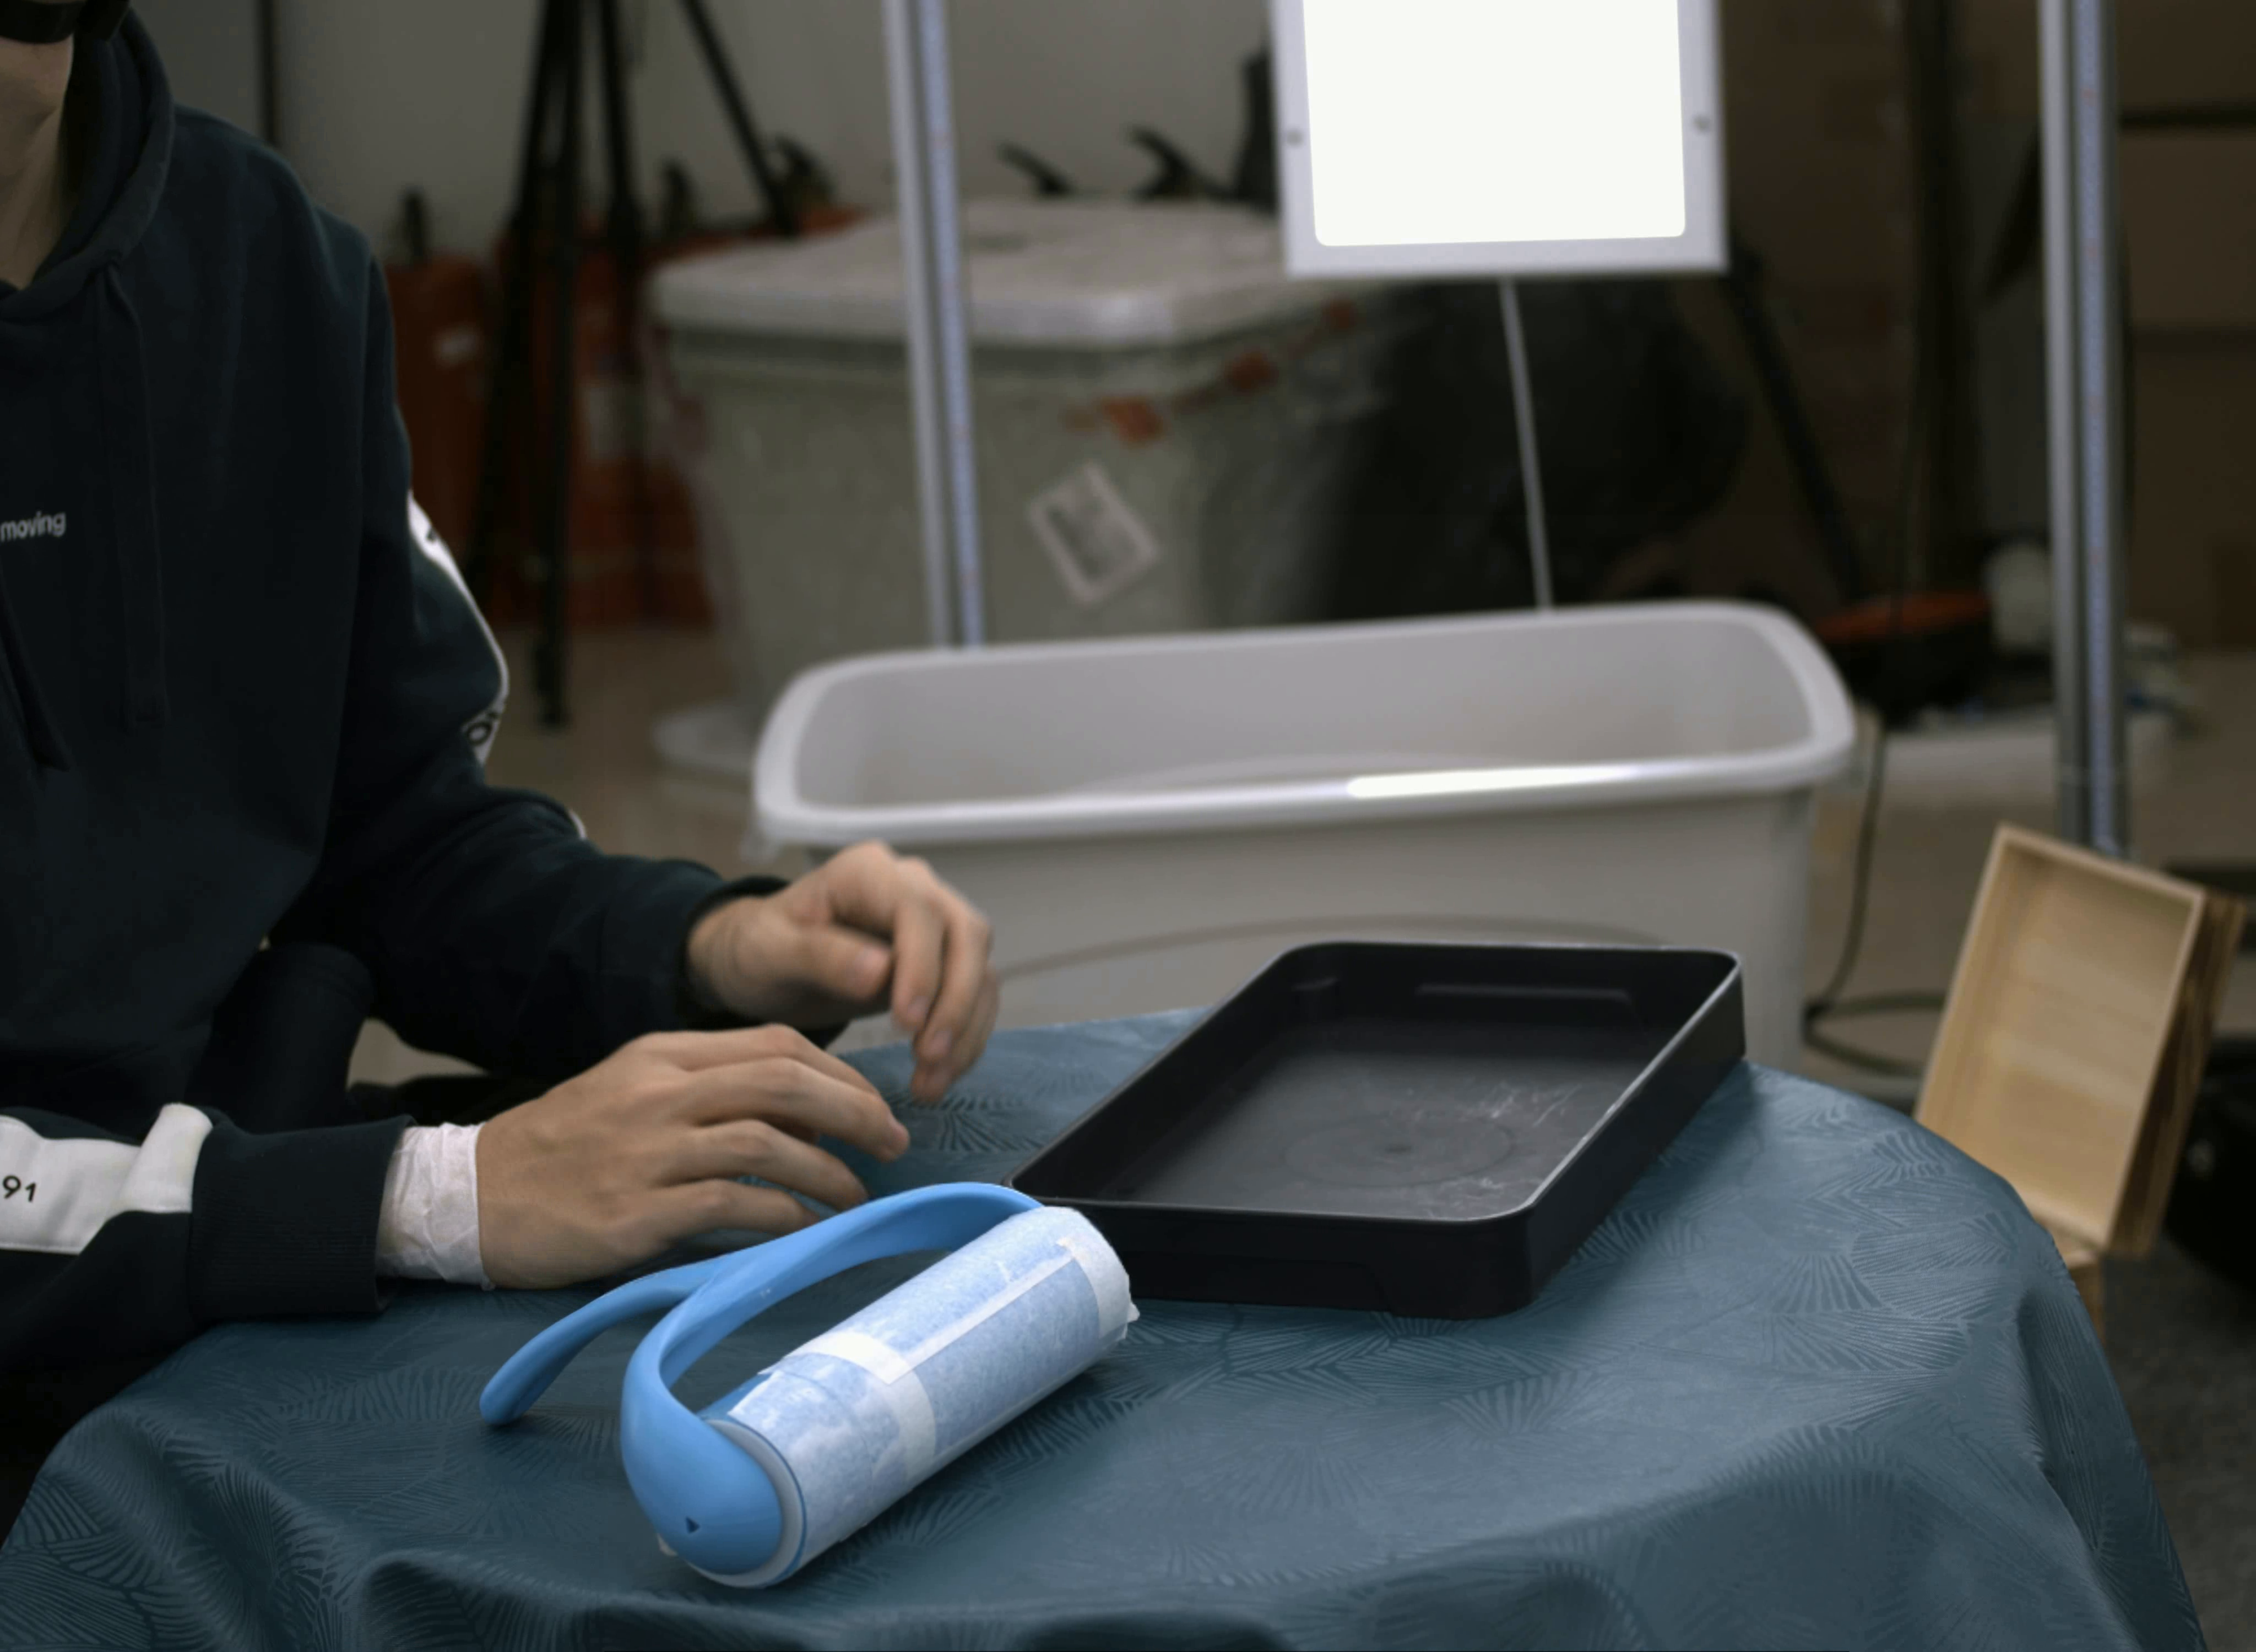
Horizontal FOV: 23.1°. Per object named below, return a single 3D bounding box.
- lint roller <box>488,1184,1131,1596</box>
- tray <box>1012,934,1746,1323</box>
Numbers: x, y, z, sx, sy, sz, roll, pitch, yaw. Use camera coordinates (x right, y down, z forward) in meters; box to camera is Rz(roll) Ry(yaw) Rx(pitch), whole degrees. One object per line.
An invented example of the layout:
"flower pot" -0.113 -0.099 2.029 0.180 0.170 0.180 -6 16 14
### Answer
"lint roller" -0.120 0.164 1.668 0.183 0.068 0.224 4 18 27
"tray" 0.095 0.099 1.901 0.187 0.037 0.312 0 16 21
